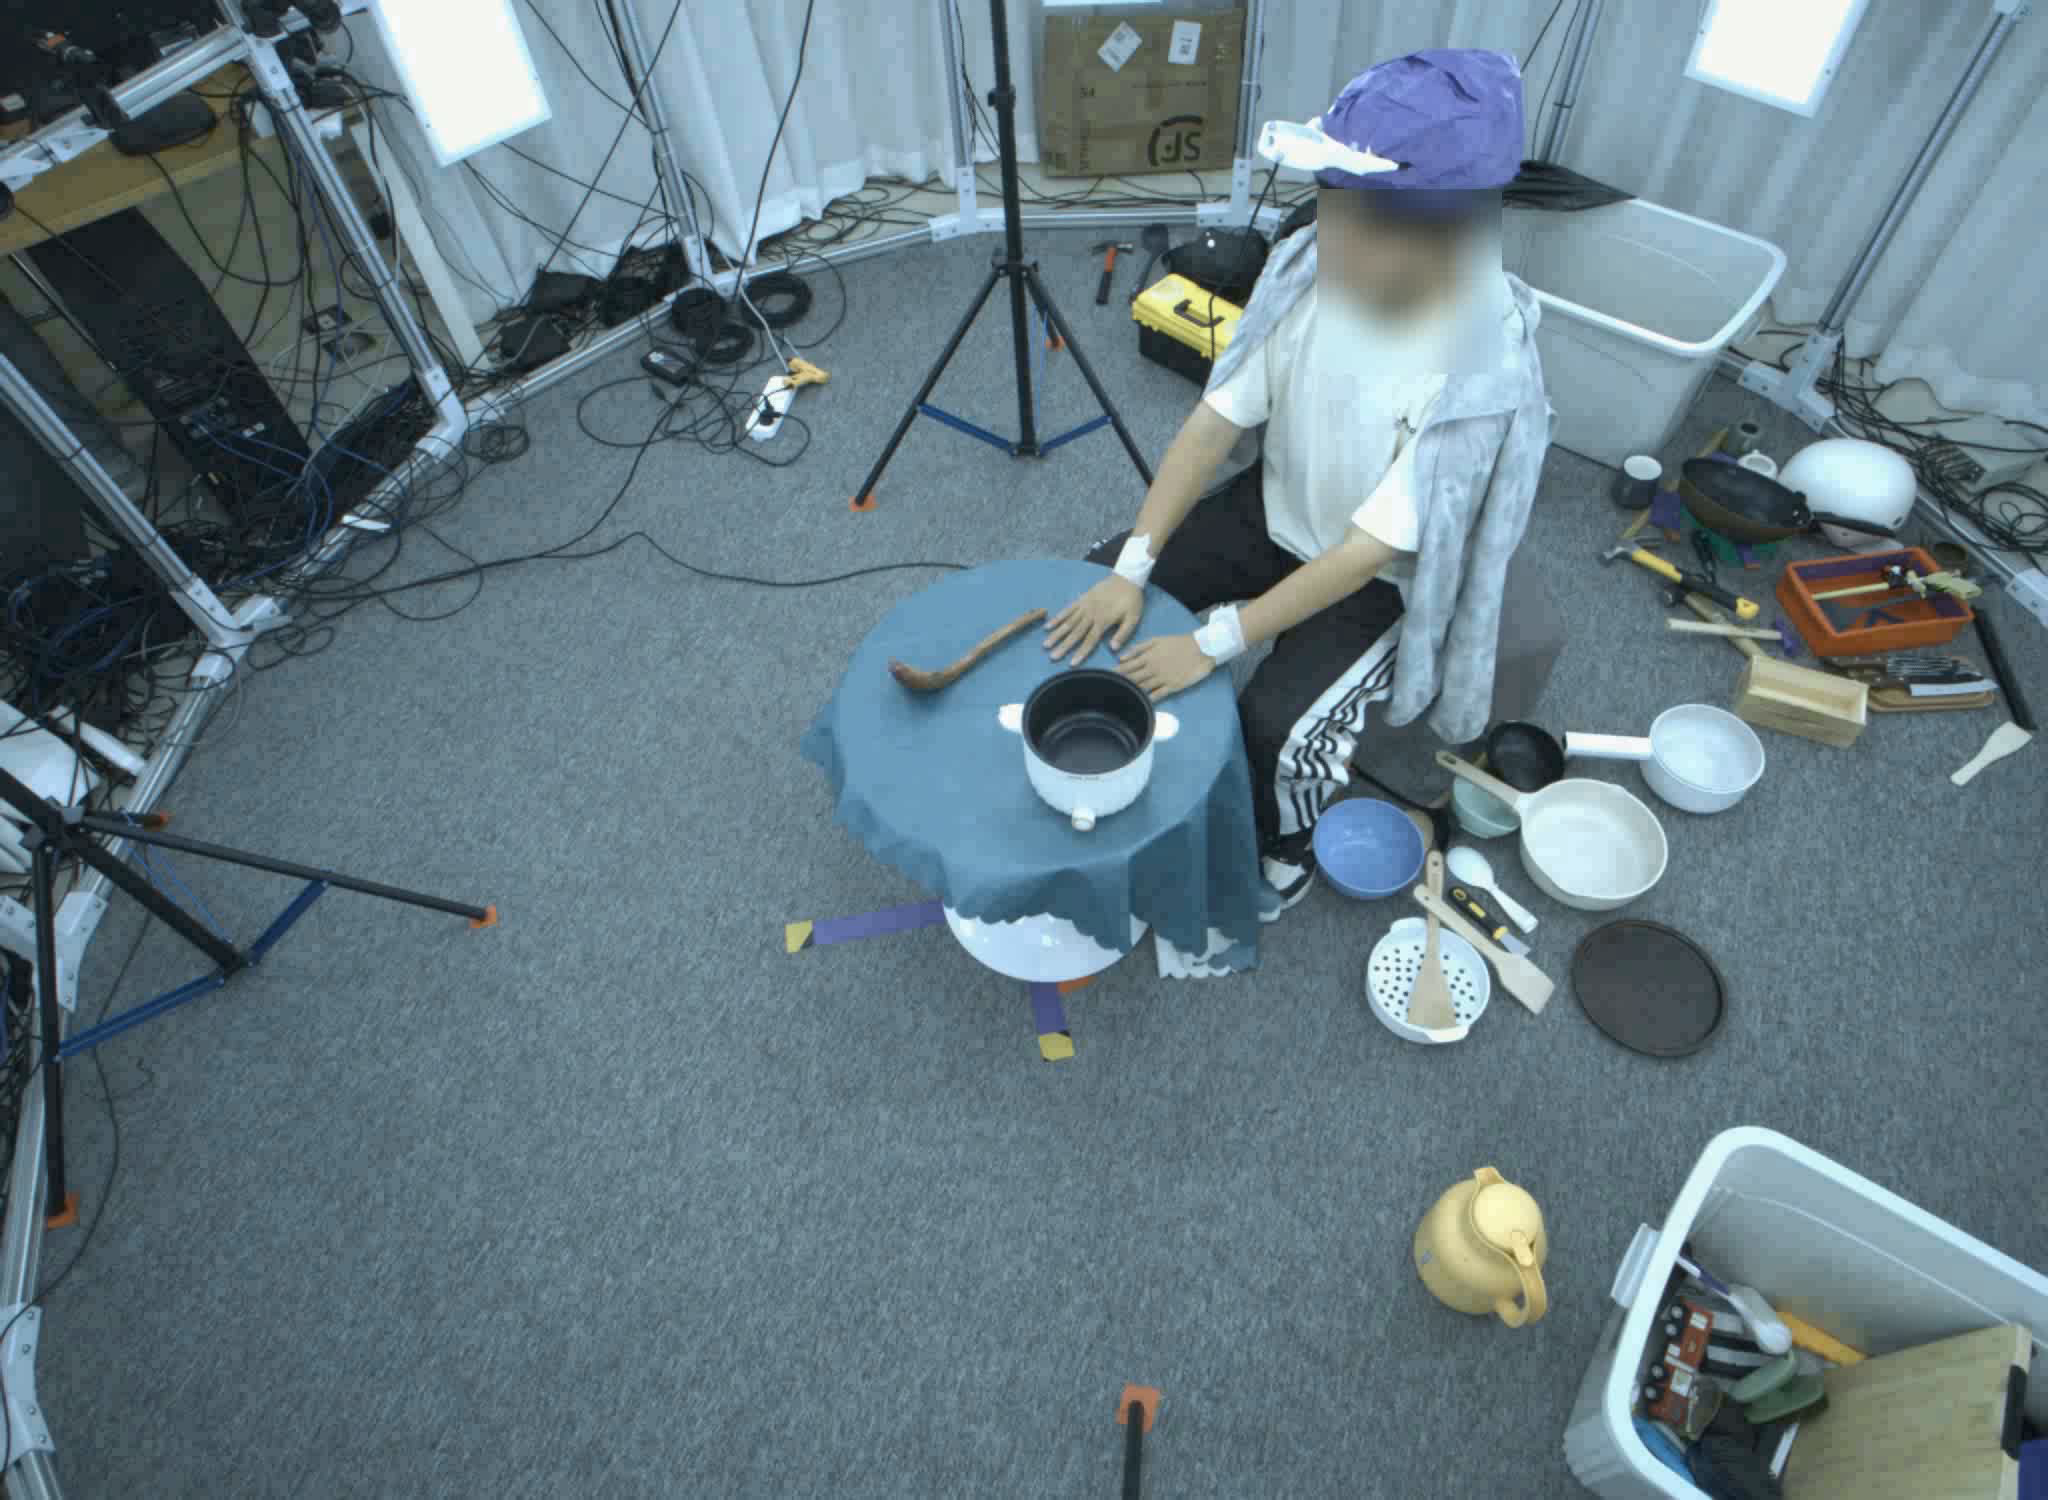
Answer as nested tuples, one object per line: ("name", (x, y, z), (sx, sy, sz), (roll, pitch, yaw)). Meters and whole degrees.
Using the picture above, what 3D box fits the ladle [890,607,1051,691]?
("ladle", (-0.082, -0.172, 1.867), (0.276, 0.078, 0.080), (-35, 36, -20))

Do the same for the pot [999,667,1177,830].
("pot", (0.089, 0.001, 1.700), (0.239, 0.144, 0.189), (3, 51, 6))
